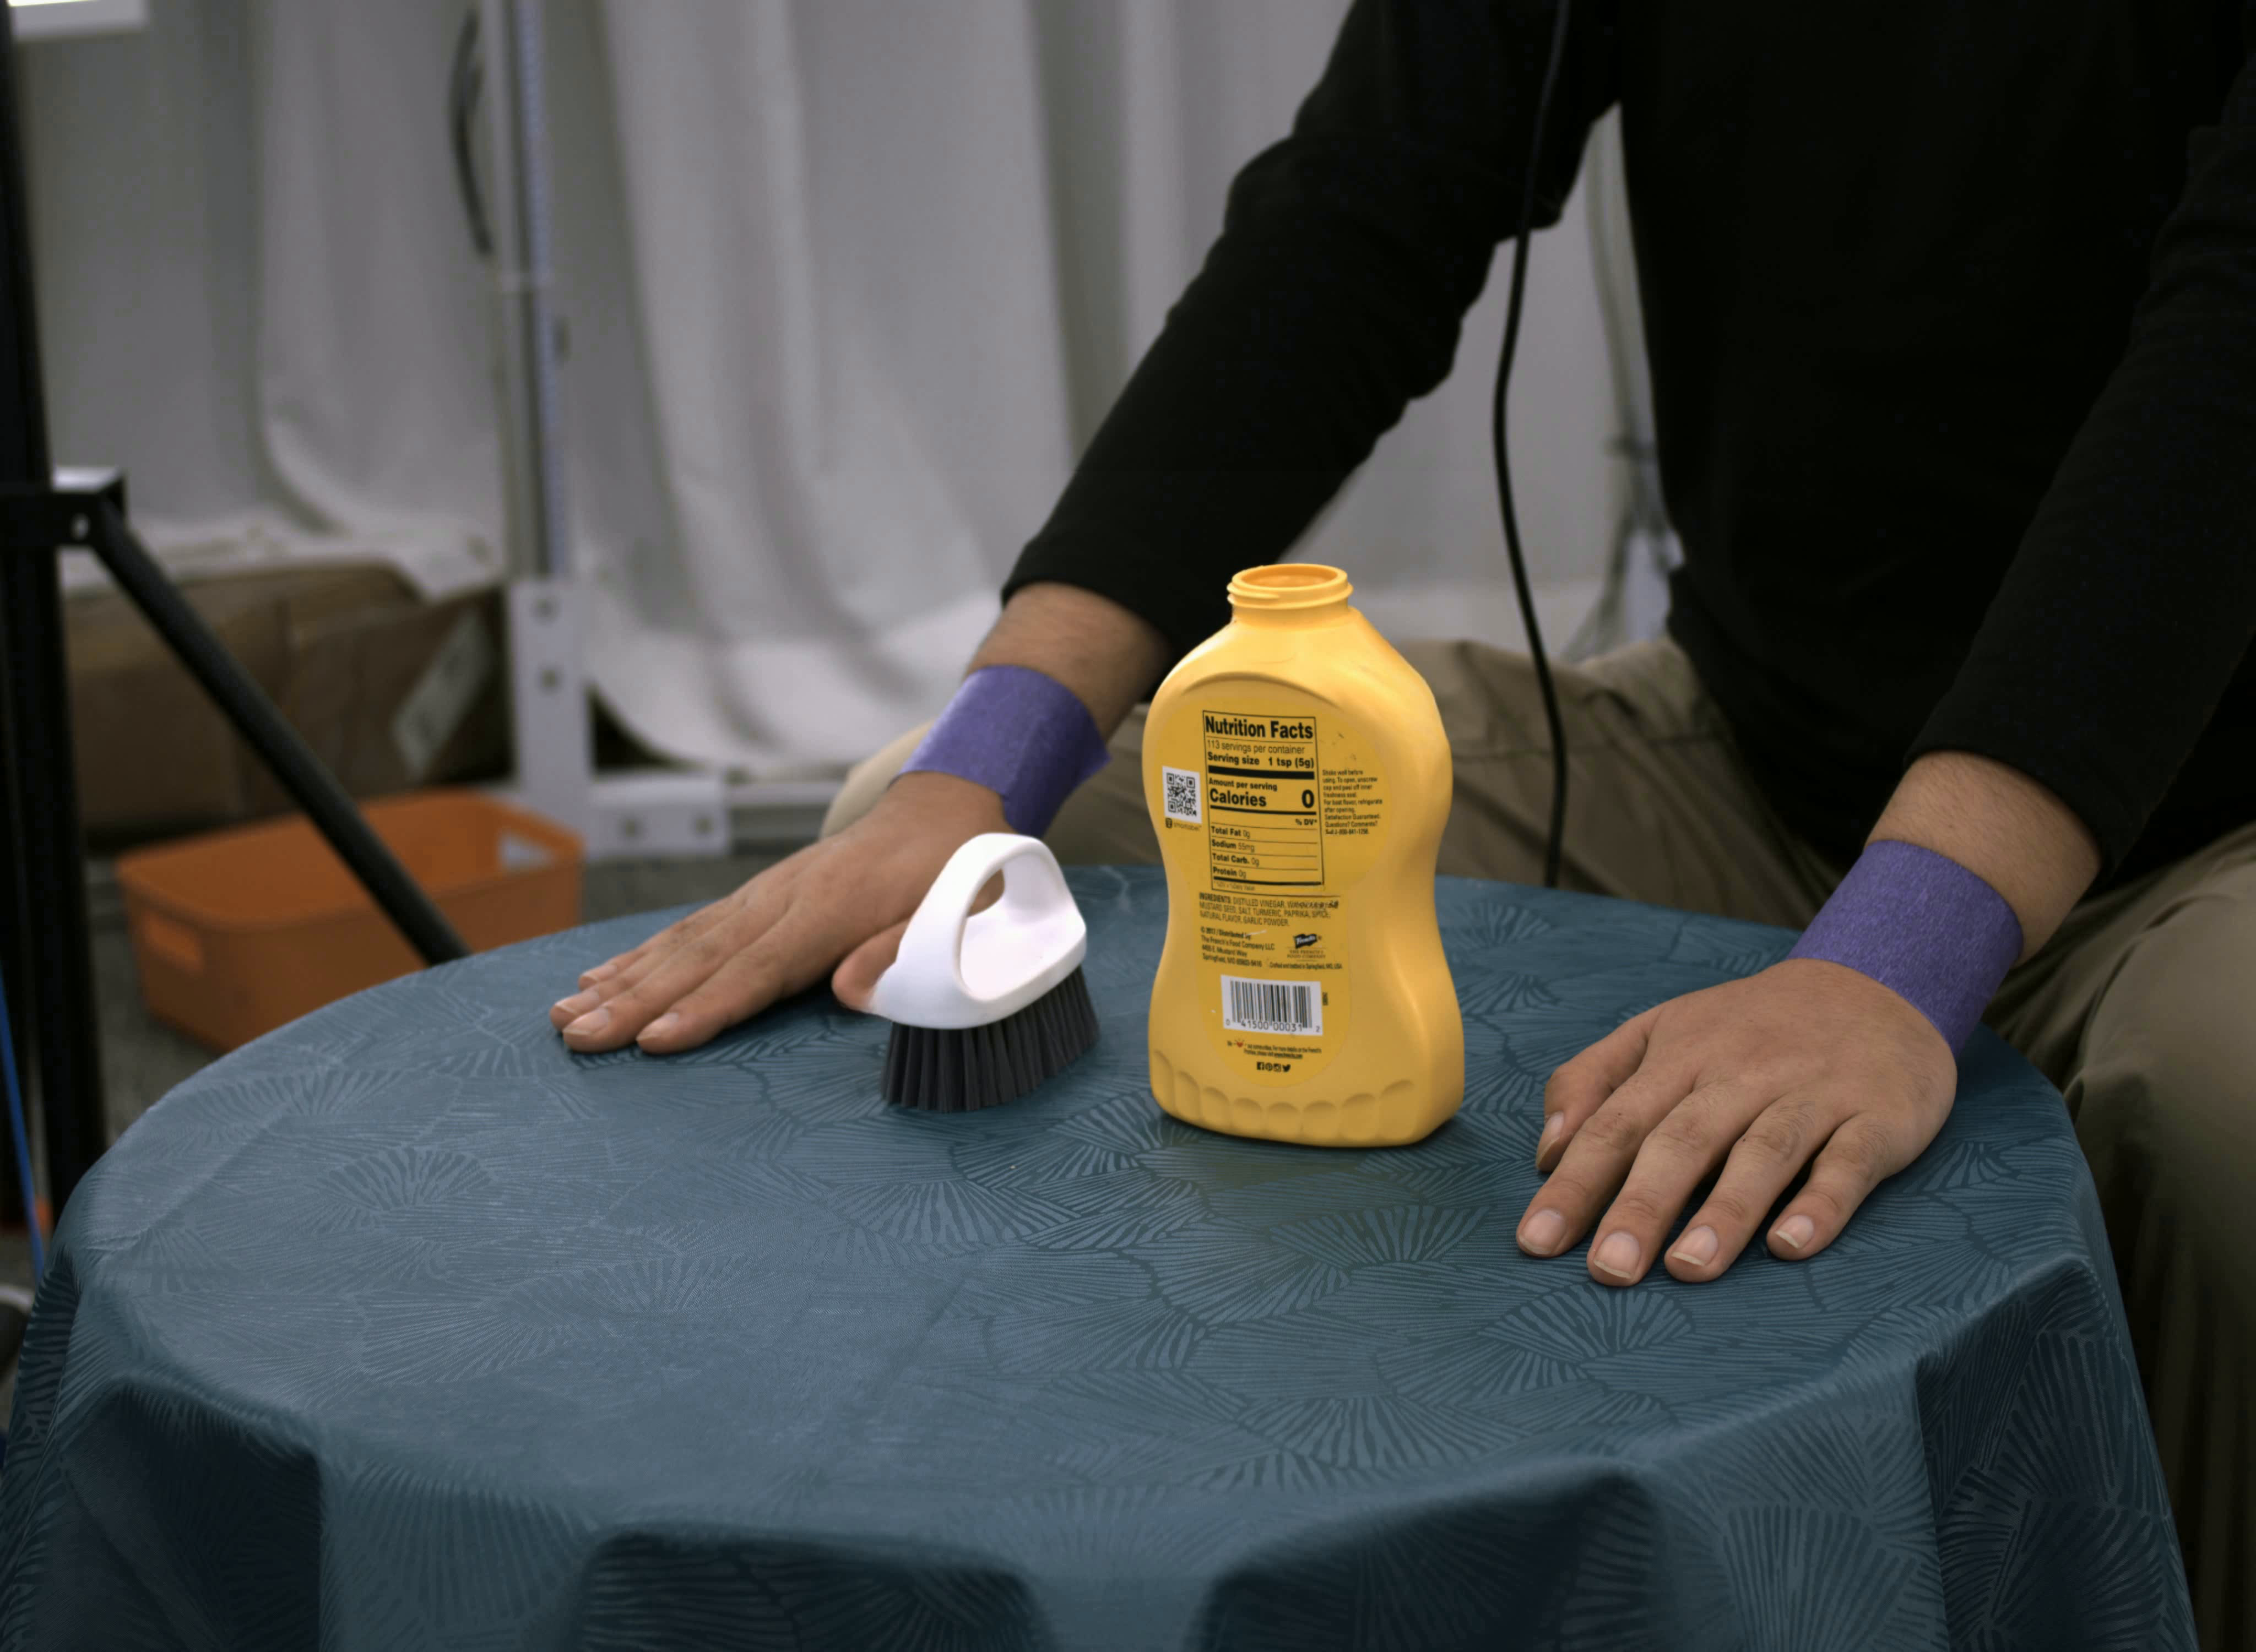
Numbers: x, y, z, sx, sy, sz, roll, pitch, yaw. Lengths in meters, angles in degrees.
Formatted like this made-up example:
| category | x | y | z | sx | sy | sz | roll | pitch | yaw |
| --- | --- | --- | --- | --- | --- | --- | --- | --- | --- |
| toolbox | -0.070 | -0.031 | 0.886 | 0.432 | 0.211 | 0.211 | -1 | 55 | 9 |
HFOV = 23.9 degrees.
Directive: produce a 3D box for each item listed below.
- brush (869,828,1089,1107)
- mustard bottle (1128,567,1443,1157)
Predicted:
| category | x | y | z | sx | sy | sz | roll | pitch | yaw |
| --- | --- | --- | --- | --- | --- | --- | --- | --- | --- |
| brush | -0.047 | 0.039 | 1.674 | 0.051 | 0.072 | 0.098 | 6 | 19 | 24 |
| mustard bottle | 0.047 | 0.009 | 1.594 | 0.099 | 0.172 | 0.058 | 4 | 12 | 24 |
